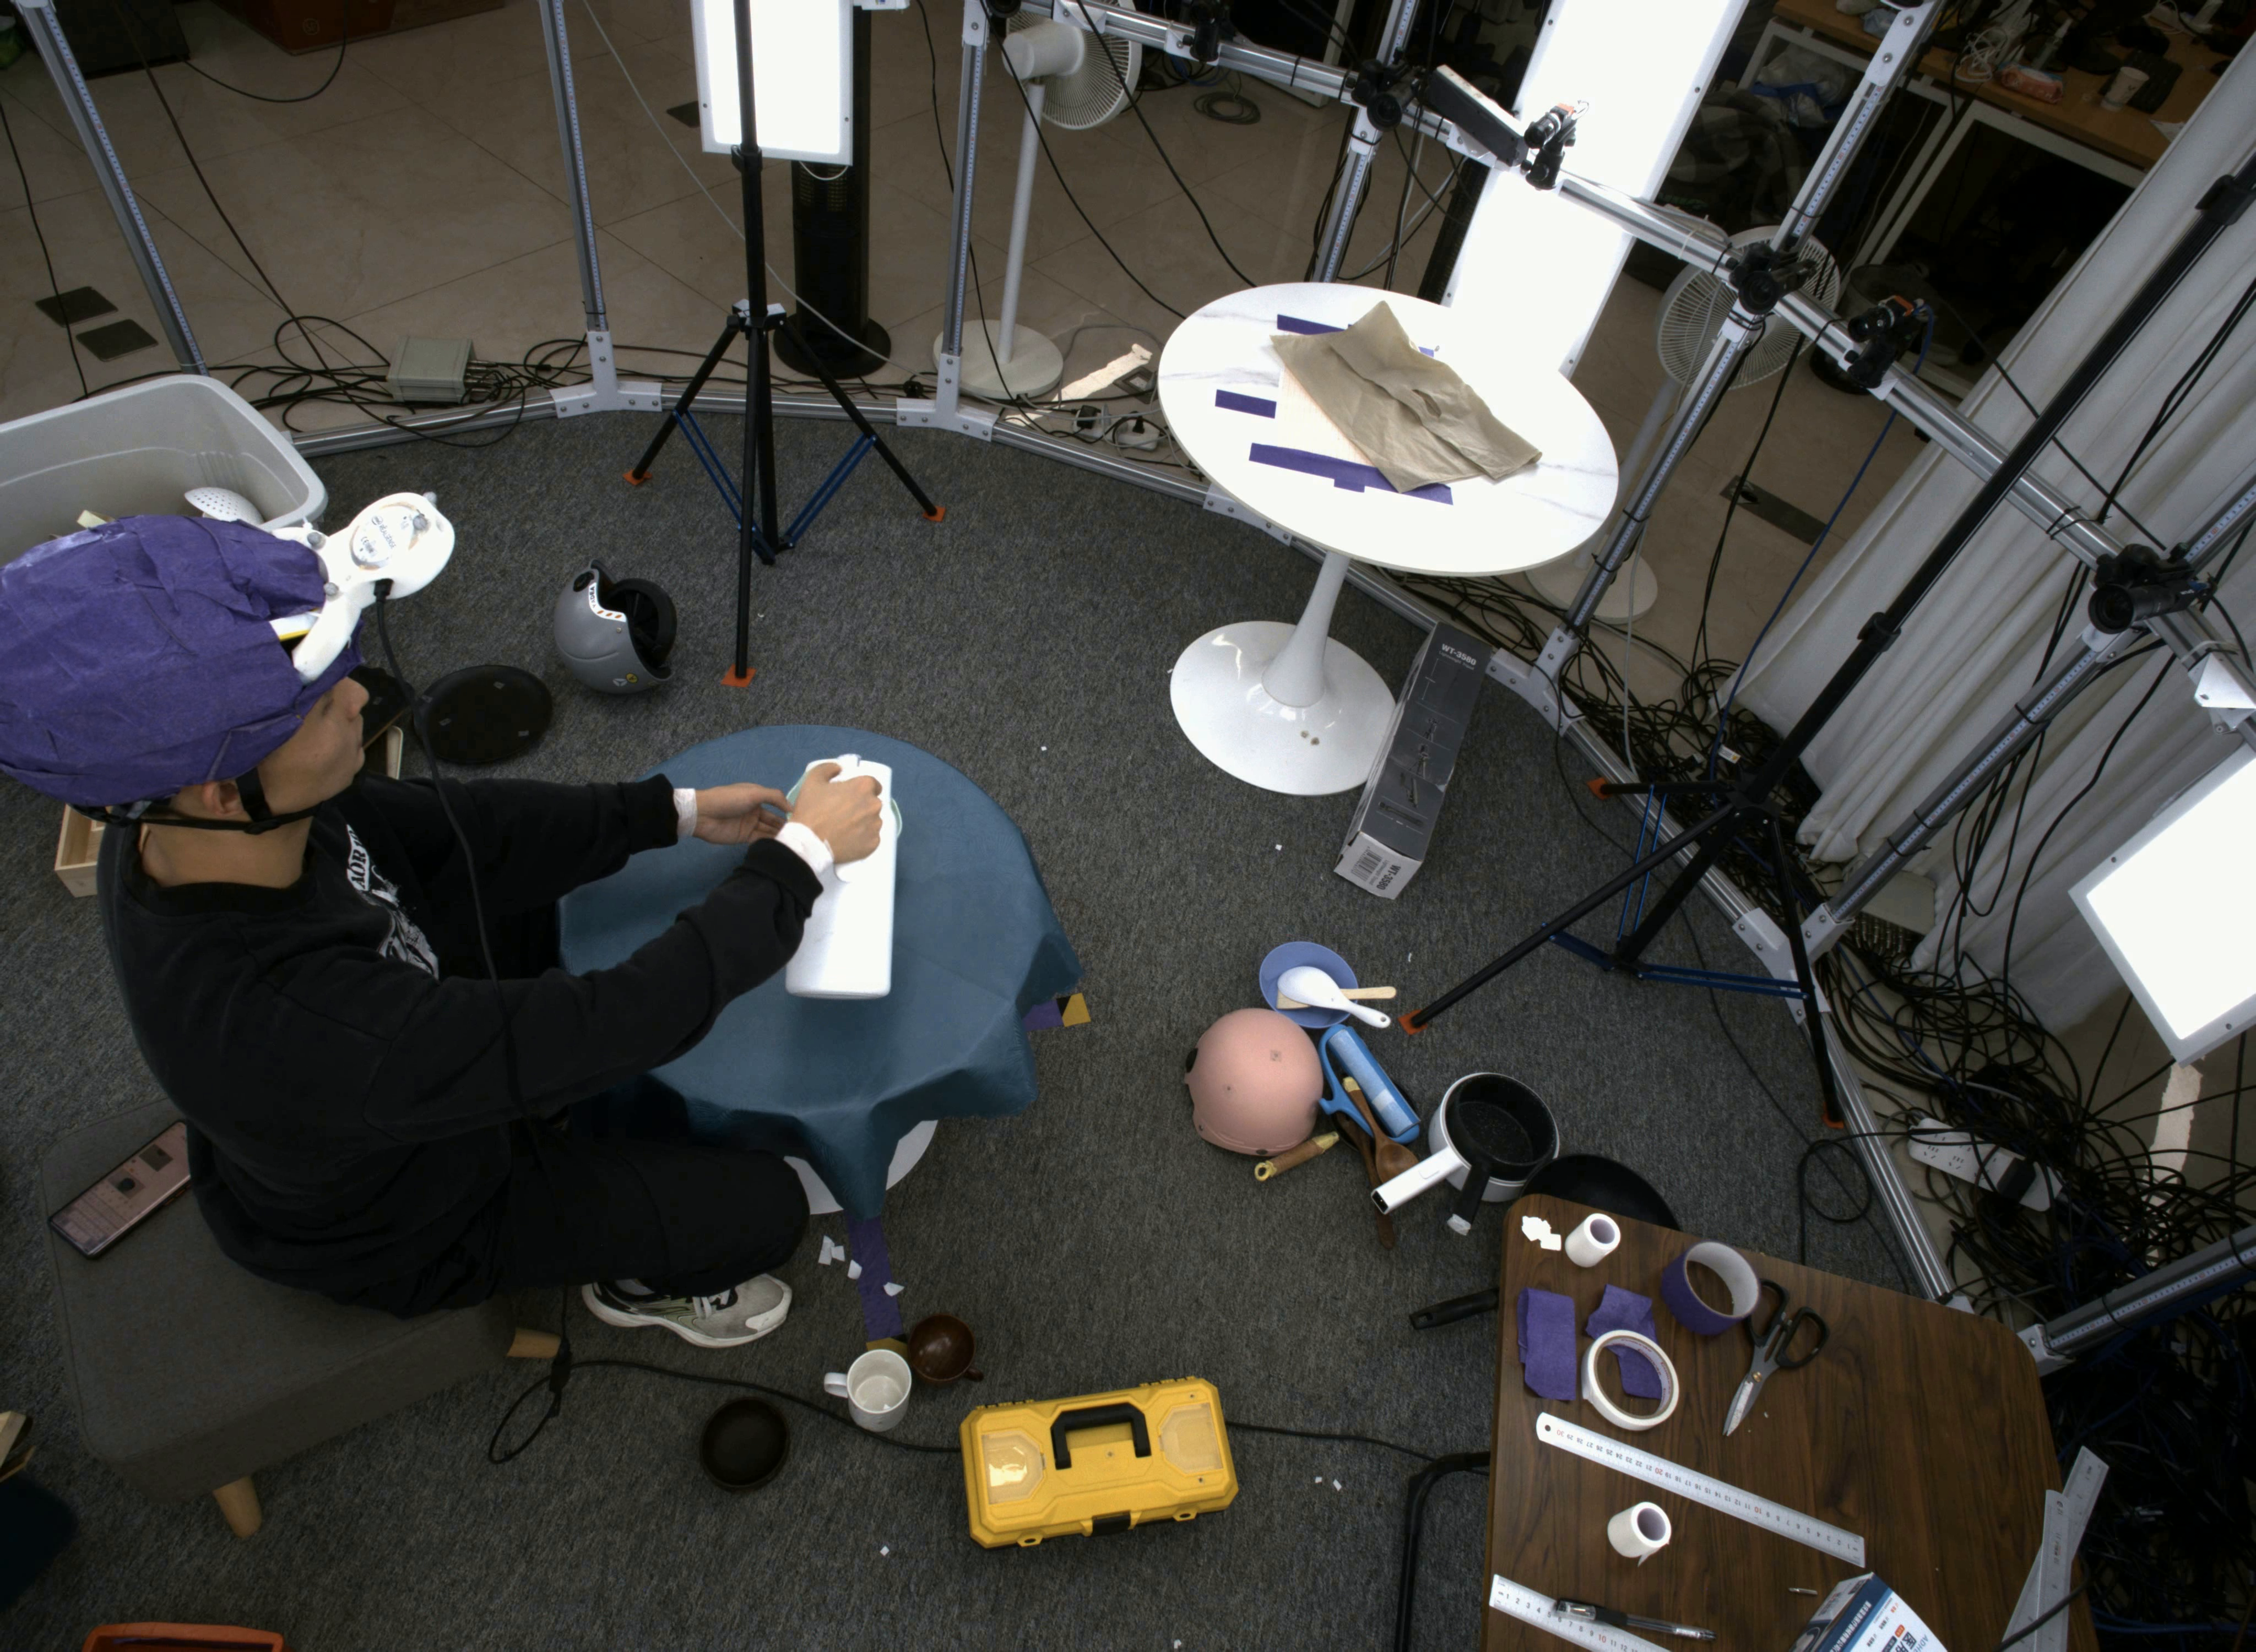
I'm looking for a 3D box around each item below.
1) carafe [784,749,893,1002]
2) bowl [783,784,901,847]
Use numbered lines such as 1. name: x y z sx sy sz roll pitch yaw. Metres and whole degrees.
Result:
1. carafe: -0.322 0.055 1.465 0.124 0.172 0.269 5 78 -16
2. bowl: -0.367 0.005 1.660 0.151 0.059 0.149 10 52 -11
